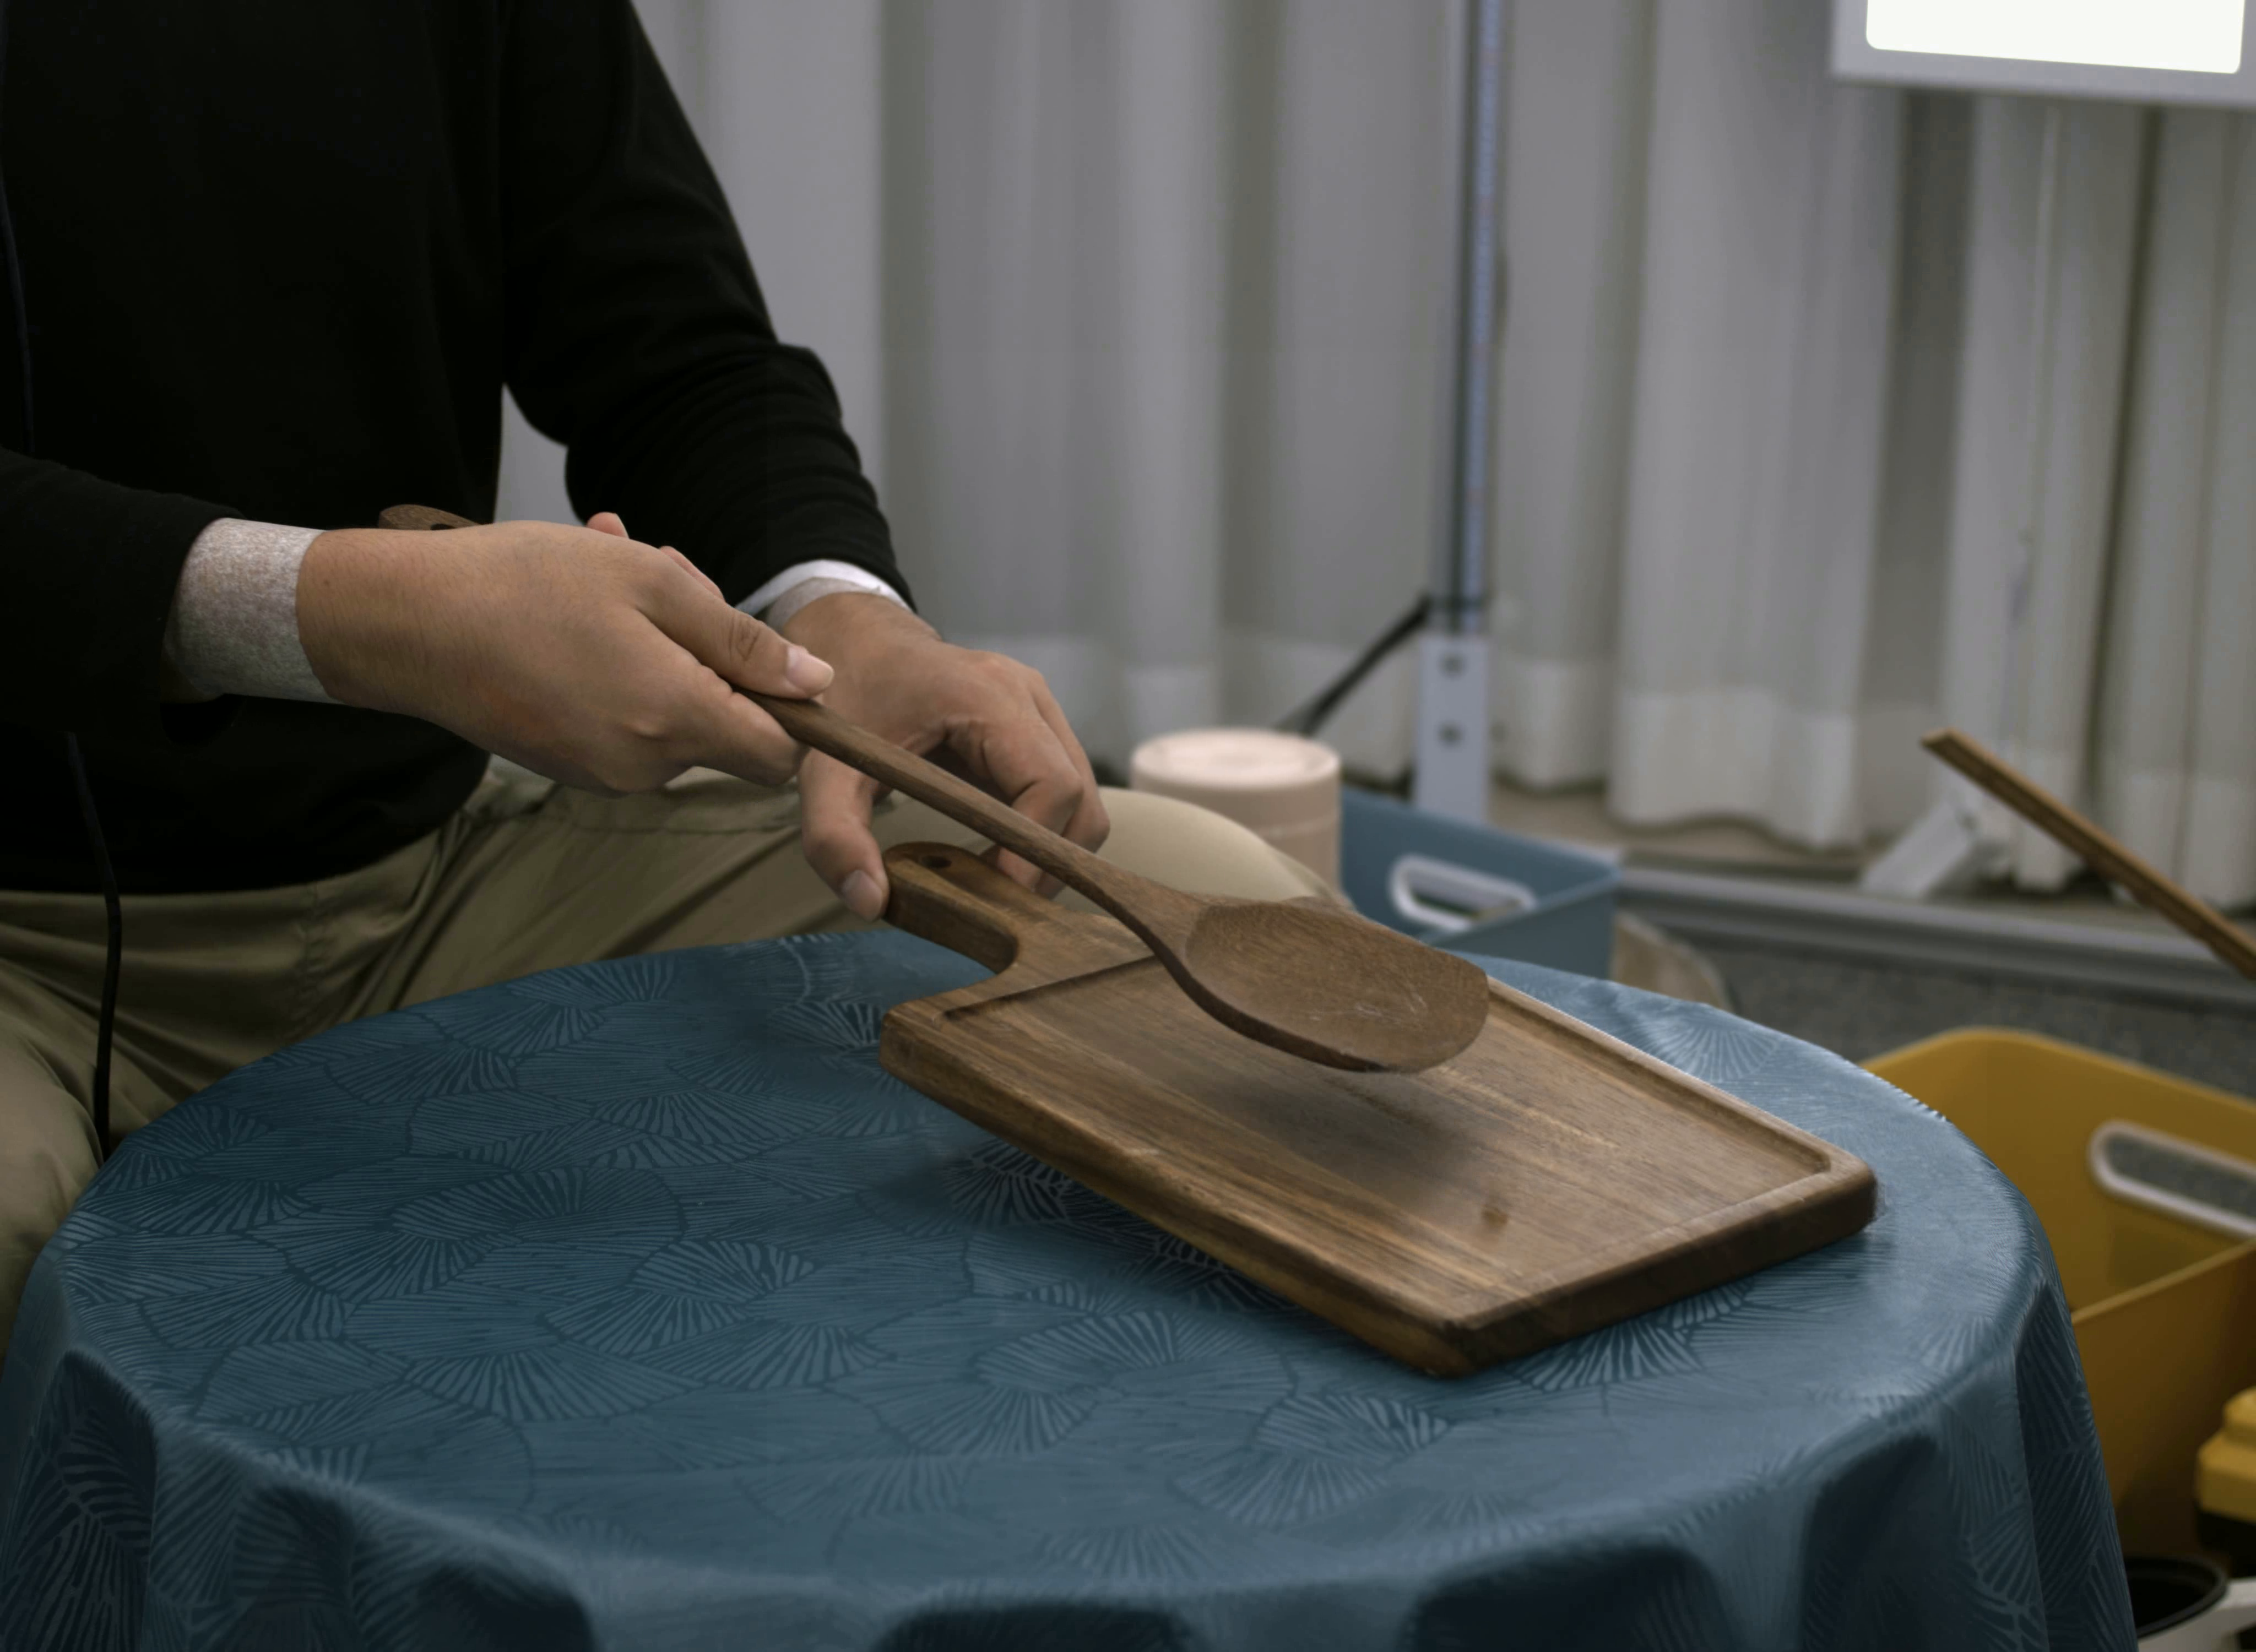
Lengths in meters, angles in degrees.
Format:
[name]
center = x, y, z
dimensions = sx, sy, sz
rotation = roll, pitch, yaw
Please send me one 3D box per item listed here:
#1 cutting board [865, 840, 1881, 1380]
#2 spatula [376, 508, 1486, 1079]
[cutting board]
center = 0.042, 0.072, 1.637
dimensions = 0.202, 0.023, 0.347
rotation = -14, 30, -43
[spatula]
center = -0.066, -0.016, 1.613
dimensions = 0.383, 0.016, 0.096
rotation = 27, 26, 11
